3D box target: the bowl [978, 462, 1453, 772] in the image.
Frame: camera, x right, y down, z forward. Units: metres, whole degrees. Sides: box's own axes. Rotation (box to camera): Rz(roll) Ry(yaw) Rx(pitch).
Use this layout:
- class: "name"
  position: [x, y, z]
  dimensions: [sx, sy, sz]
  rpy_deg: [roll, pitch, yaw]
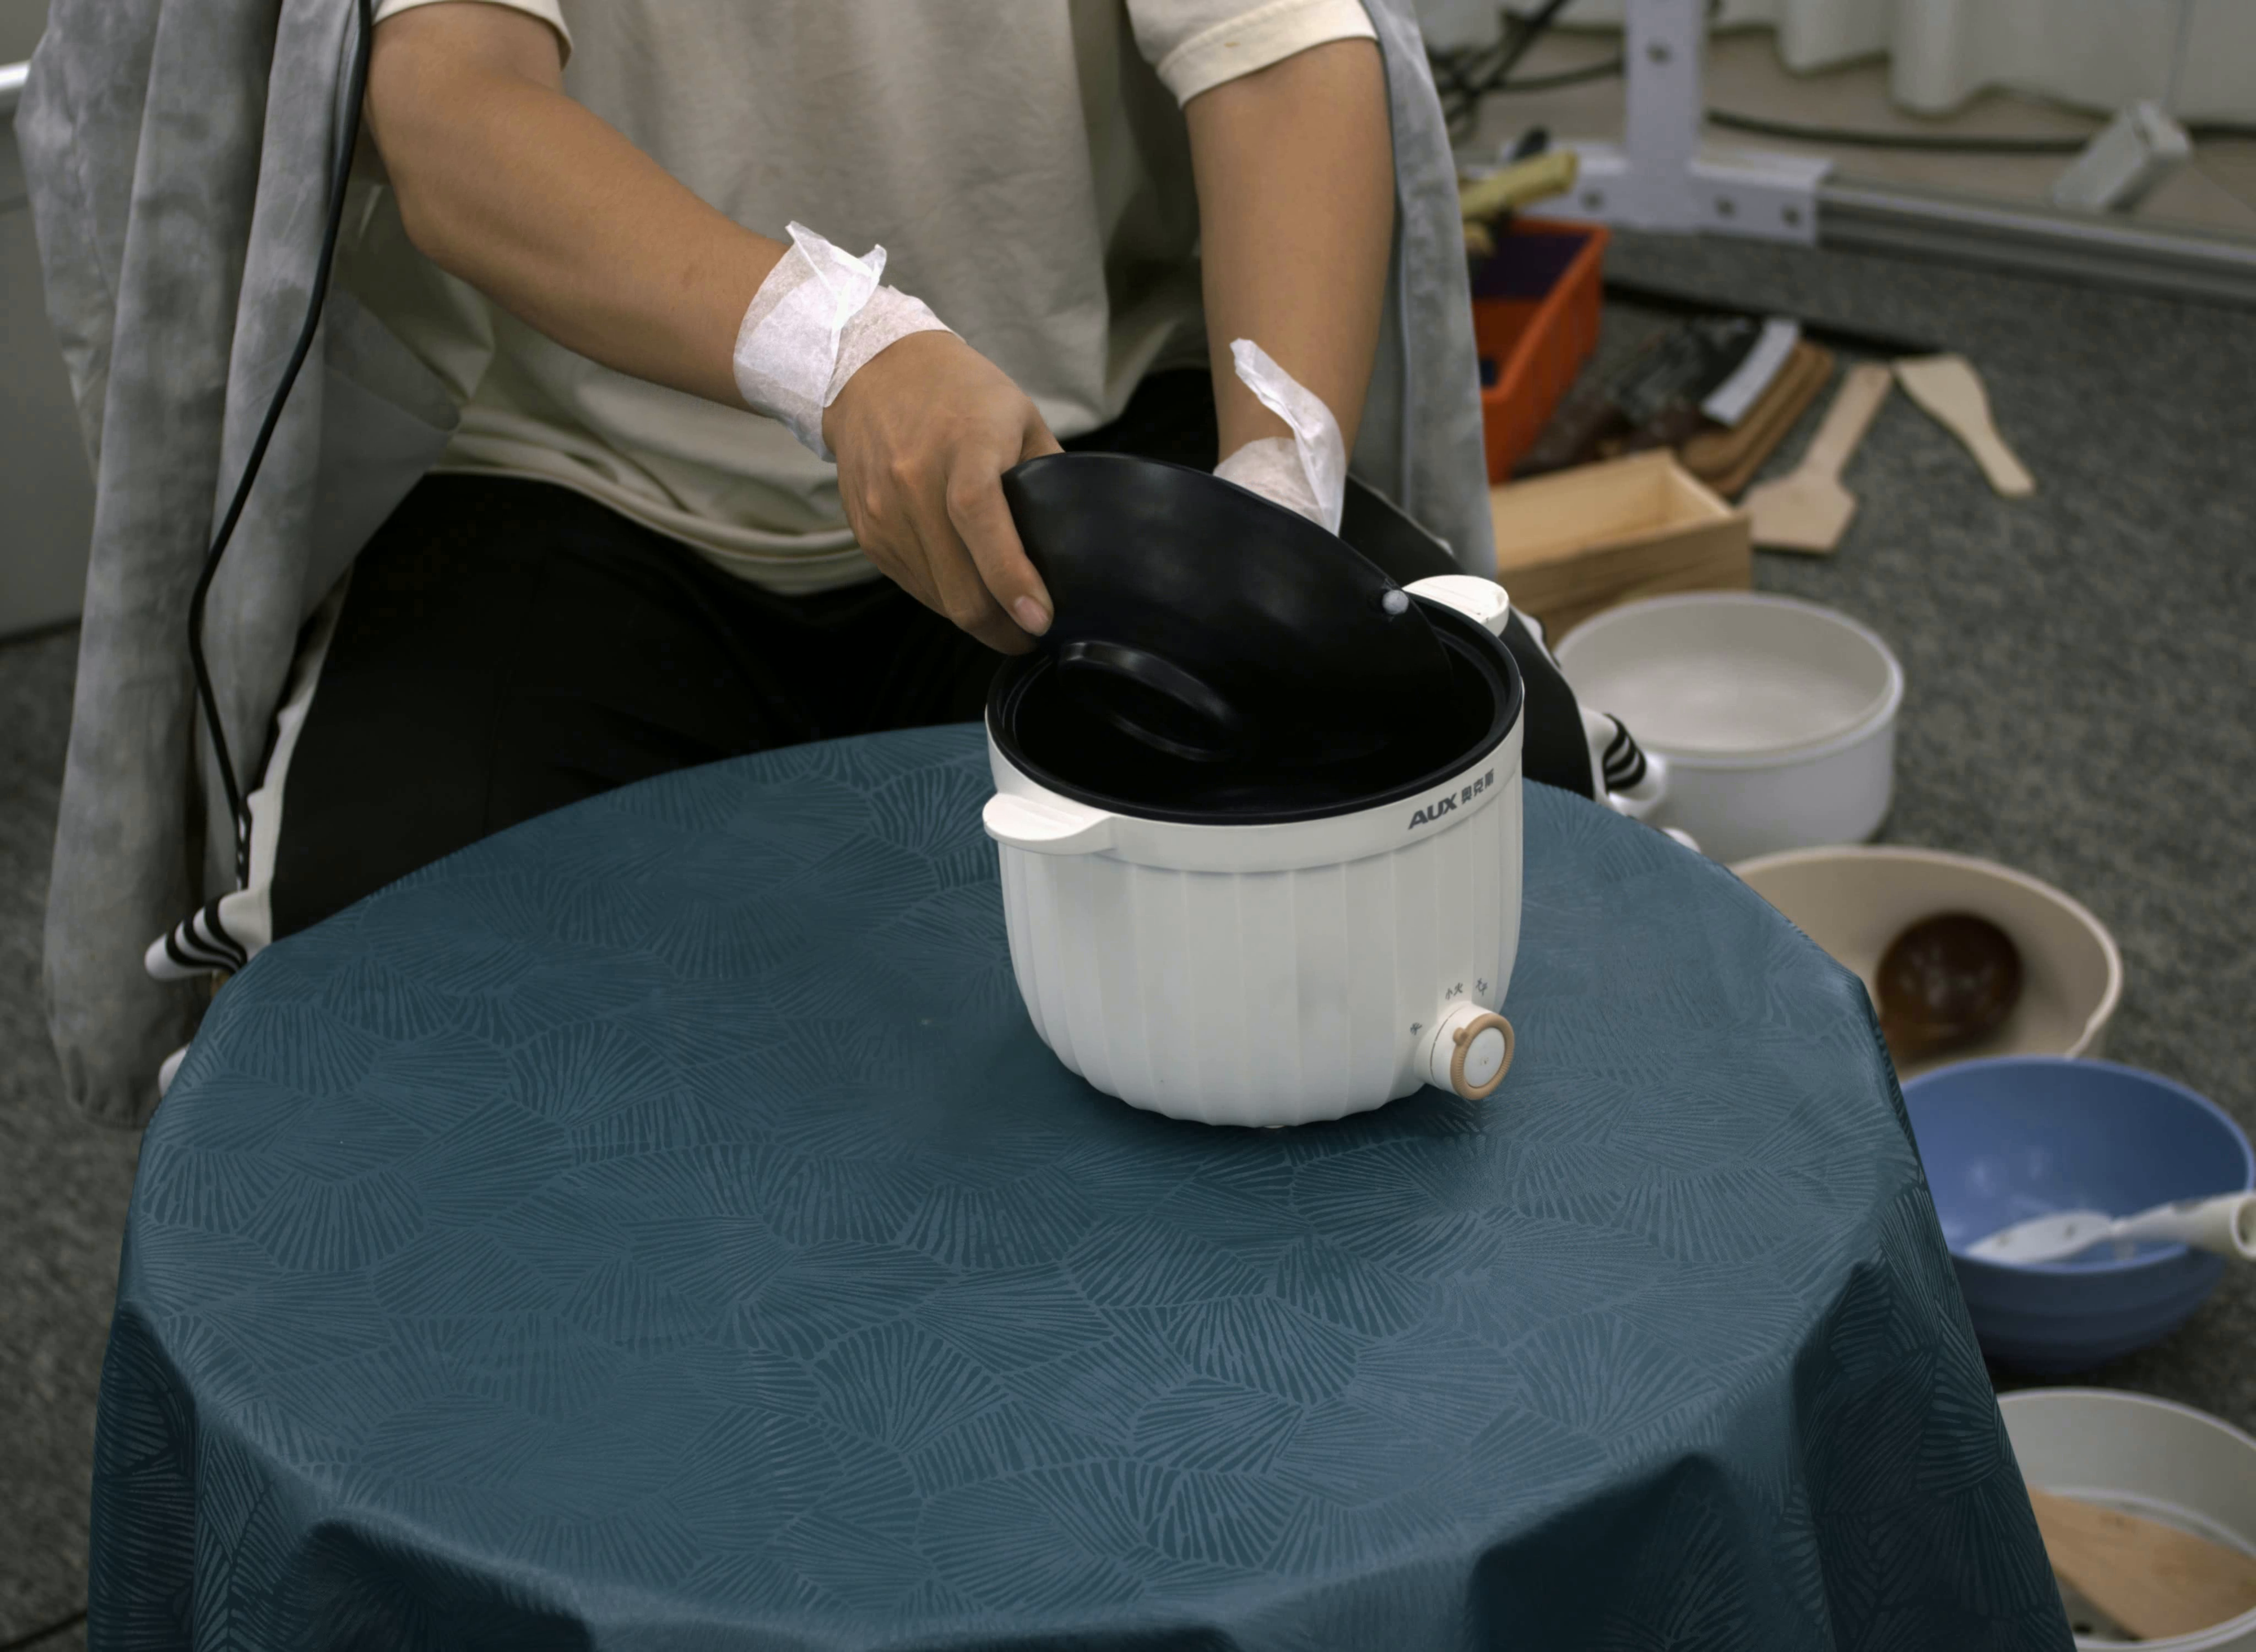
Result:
- class: "bowl"
  position: [0.021, -0.062, 1.879]
  dimensions: [0.170, 0.136, 0.067]
  rpy_deg: [25, 73, 3]

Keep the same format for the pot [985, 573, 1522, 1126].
- class: "pot"
  position: [0.050, 0.013, 1.915]
  dimensions: [0.190, 0.141, 0.243]
  rpy_deg: [17, 34, 41]
